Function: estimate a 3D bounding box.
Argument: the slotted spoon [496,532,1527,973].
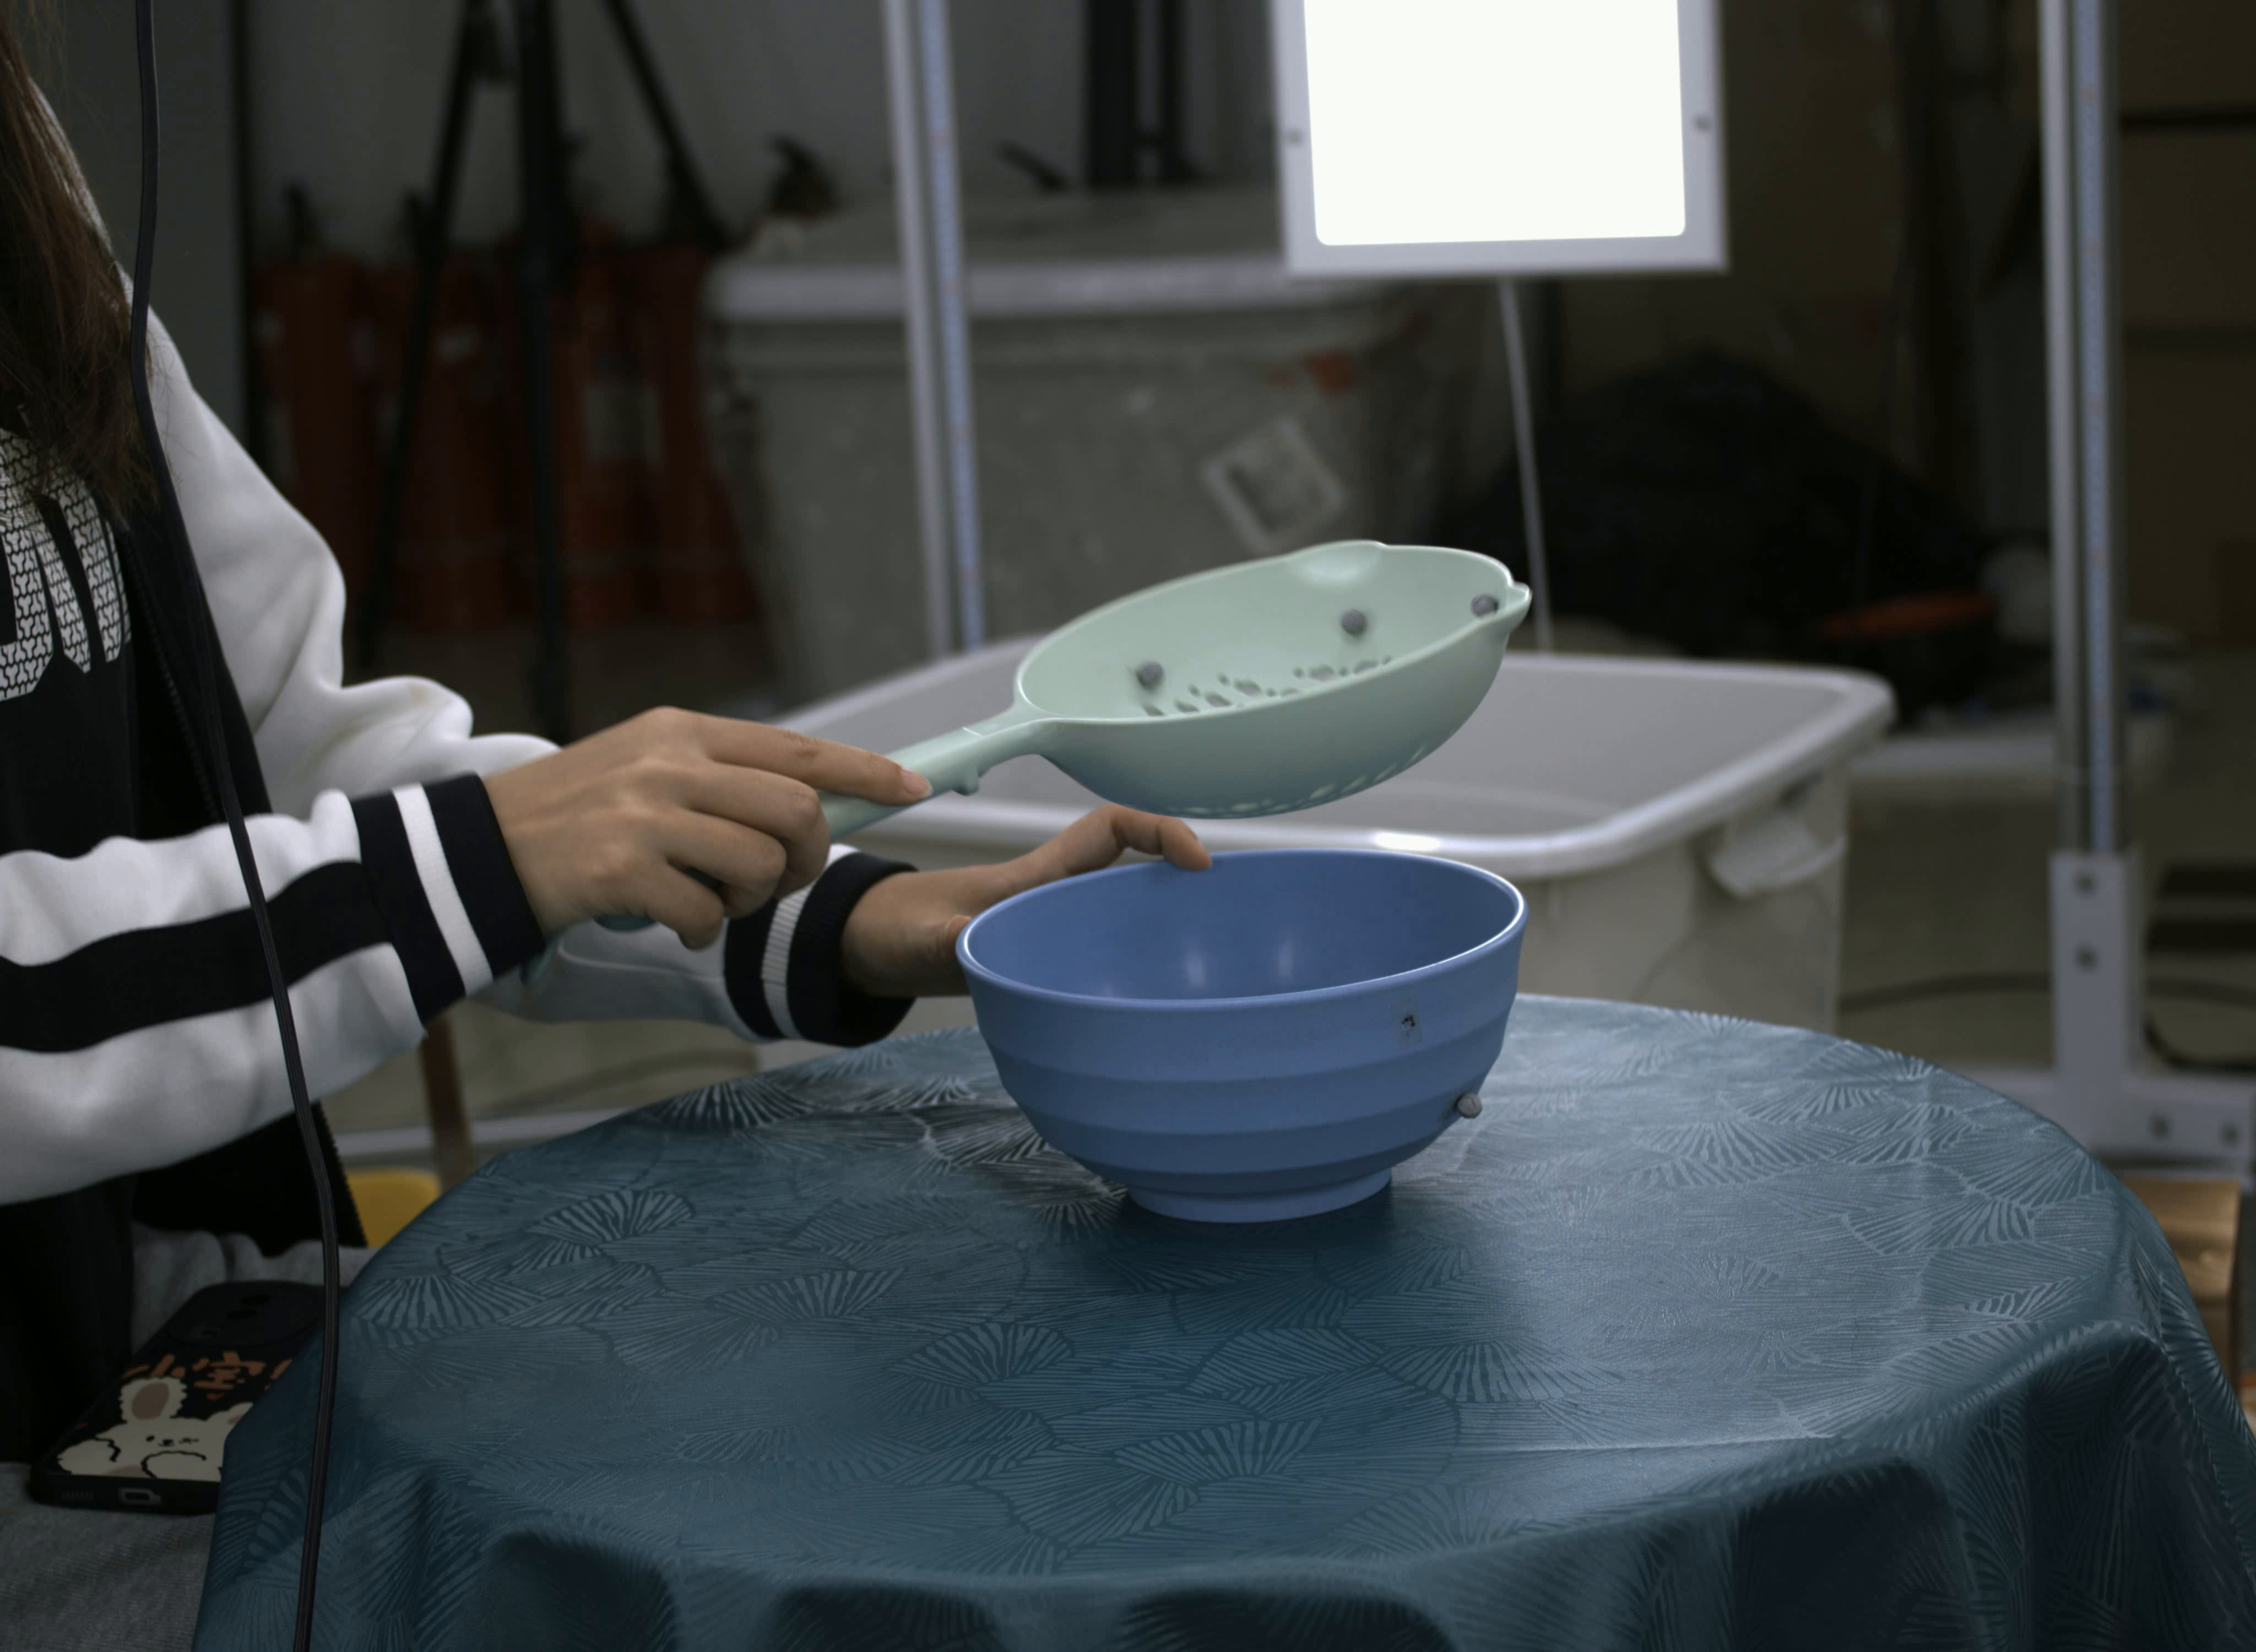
[{"bbox_3d":[-0.040,-0.023,1.800,0.352,0.075,0.172,-12,18,-22],"label":"slotted spoon"}]

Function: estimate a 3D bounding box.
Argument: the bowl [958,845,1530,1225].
[{"bbox_3d":[0.043,0.077,1.884,0.196,0.096,0.196,-5,14,0],"label":"bowl"}]
